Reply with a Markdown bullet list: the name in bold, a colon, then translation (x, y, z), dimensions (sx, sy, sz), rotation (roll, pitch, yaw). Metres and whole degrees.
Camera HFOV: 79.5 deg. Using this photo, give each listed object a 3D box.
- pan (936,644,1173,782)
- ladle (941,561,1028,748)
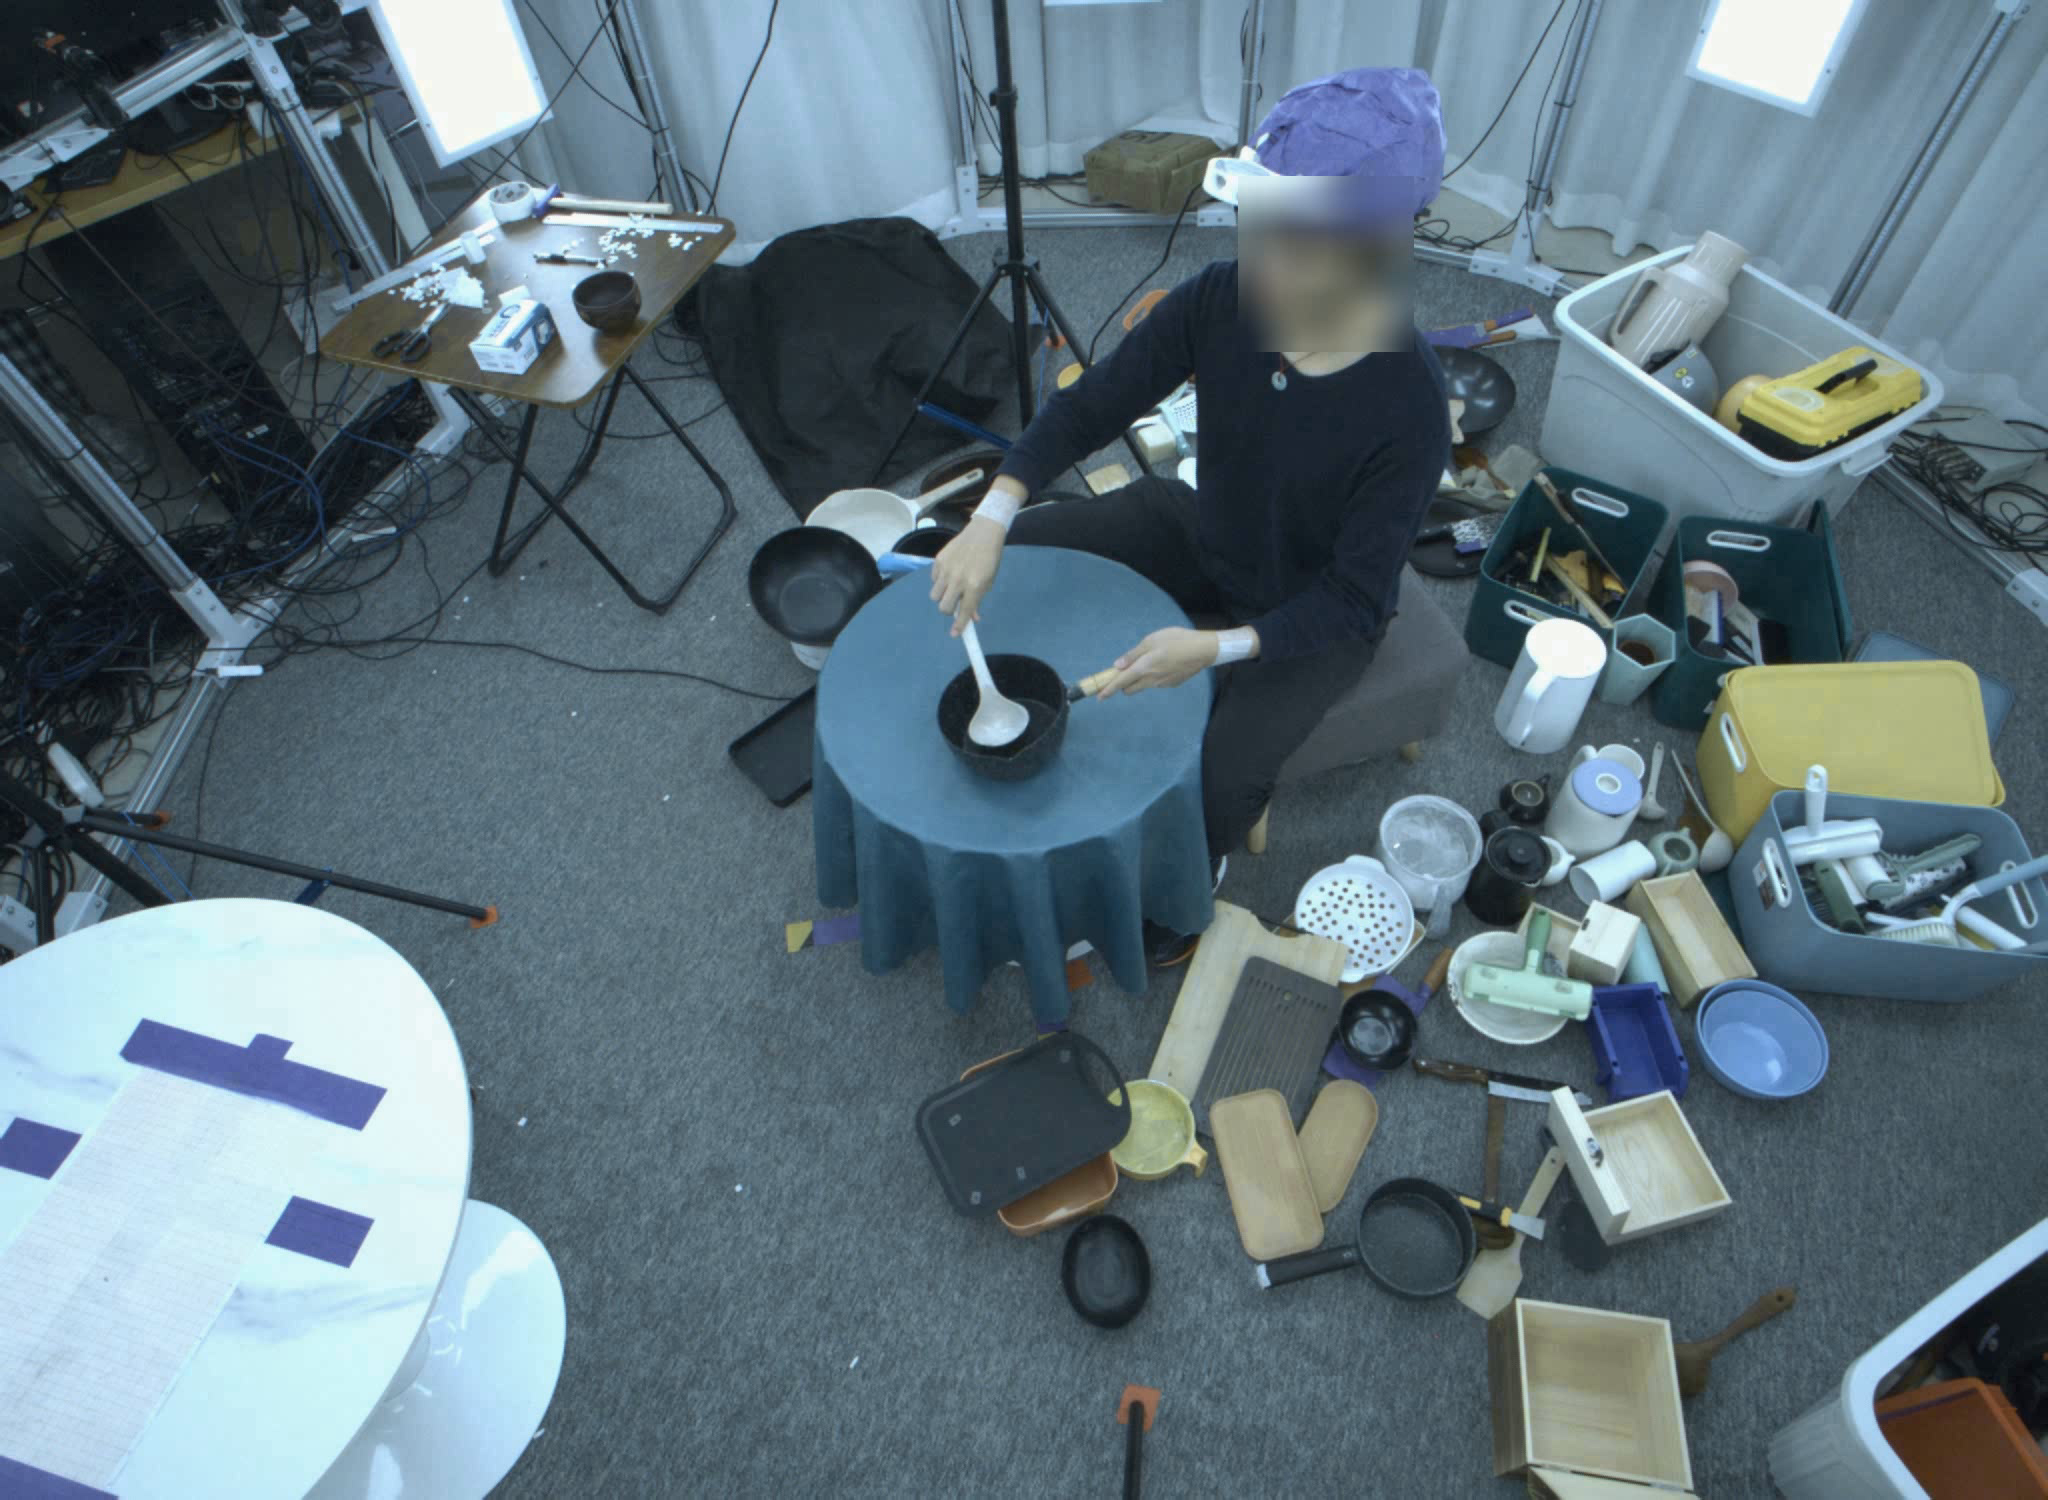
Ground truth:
- **pan**: translation (0.049, -0.068, 1.741), dimensions (0.342, 0.110, 0.204), rotation (-16, 52, 3)
- **ladle**: translation (-0.072, -0.137, 1.746), dimensions (0.089, 0.069, 0.276), rotation (-18, 100, 8)
